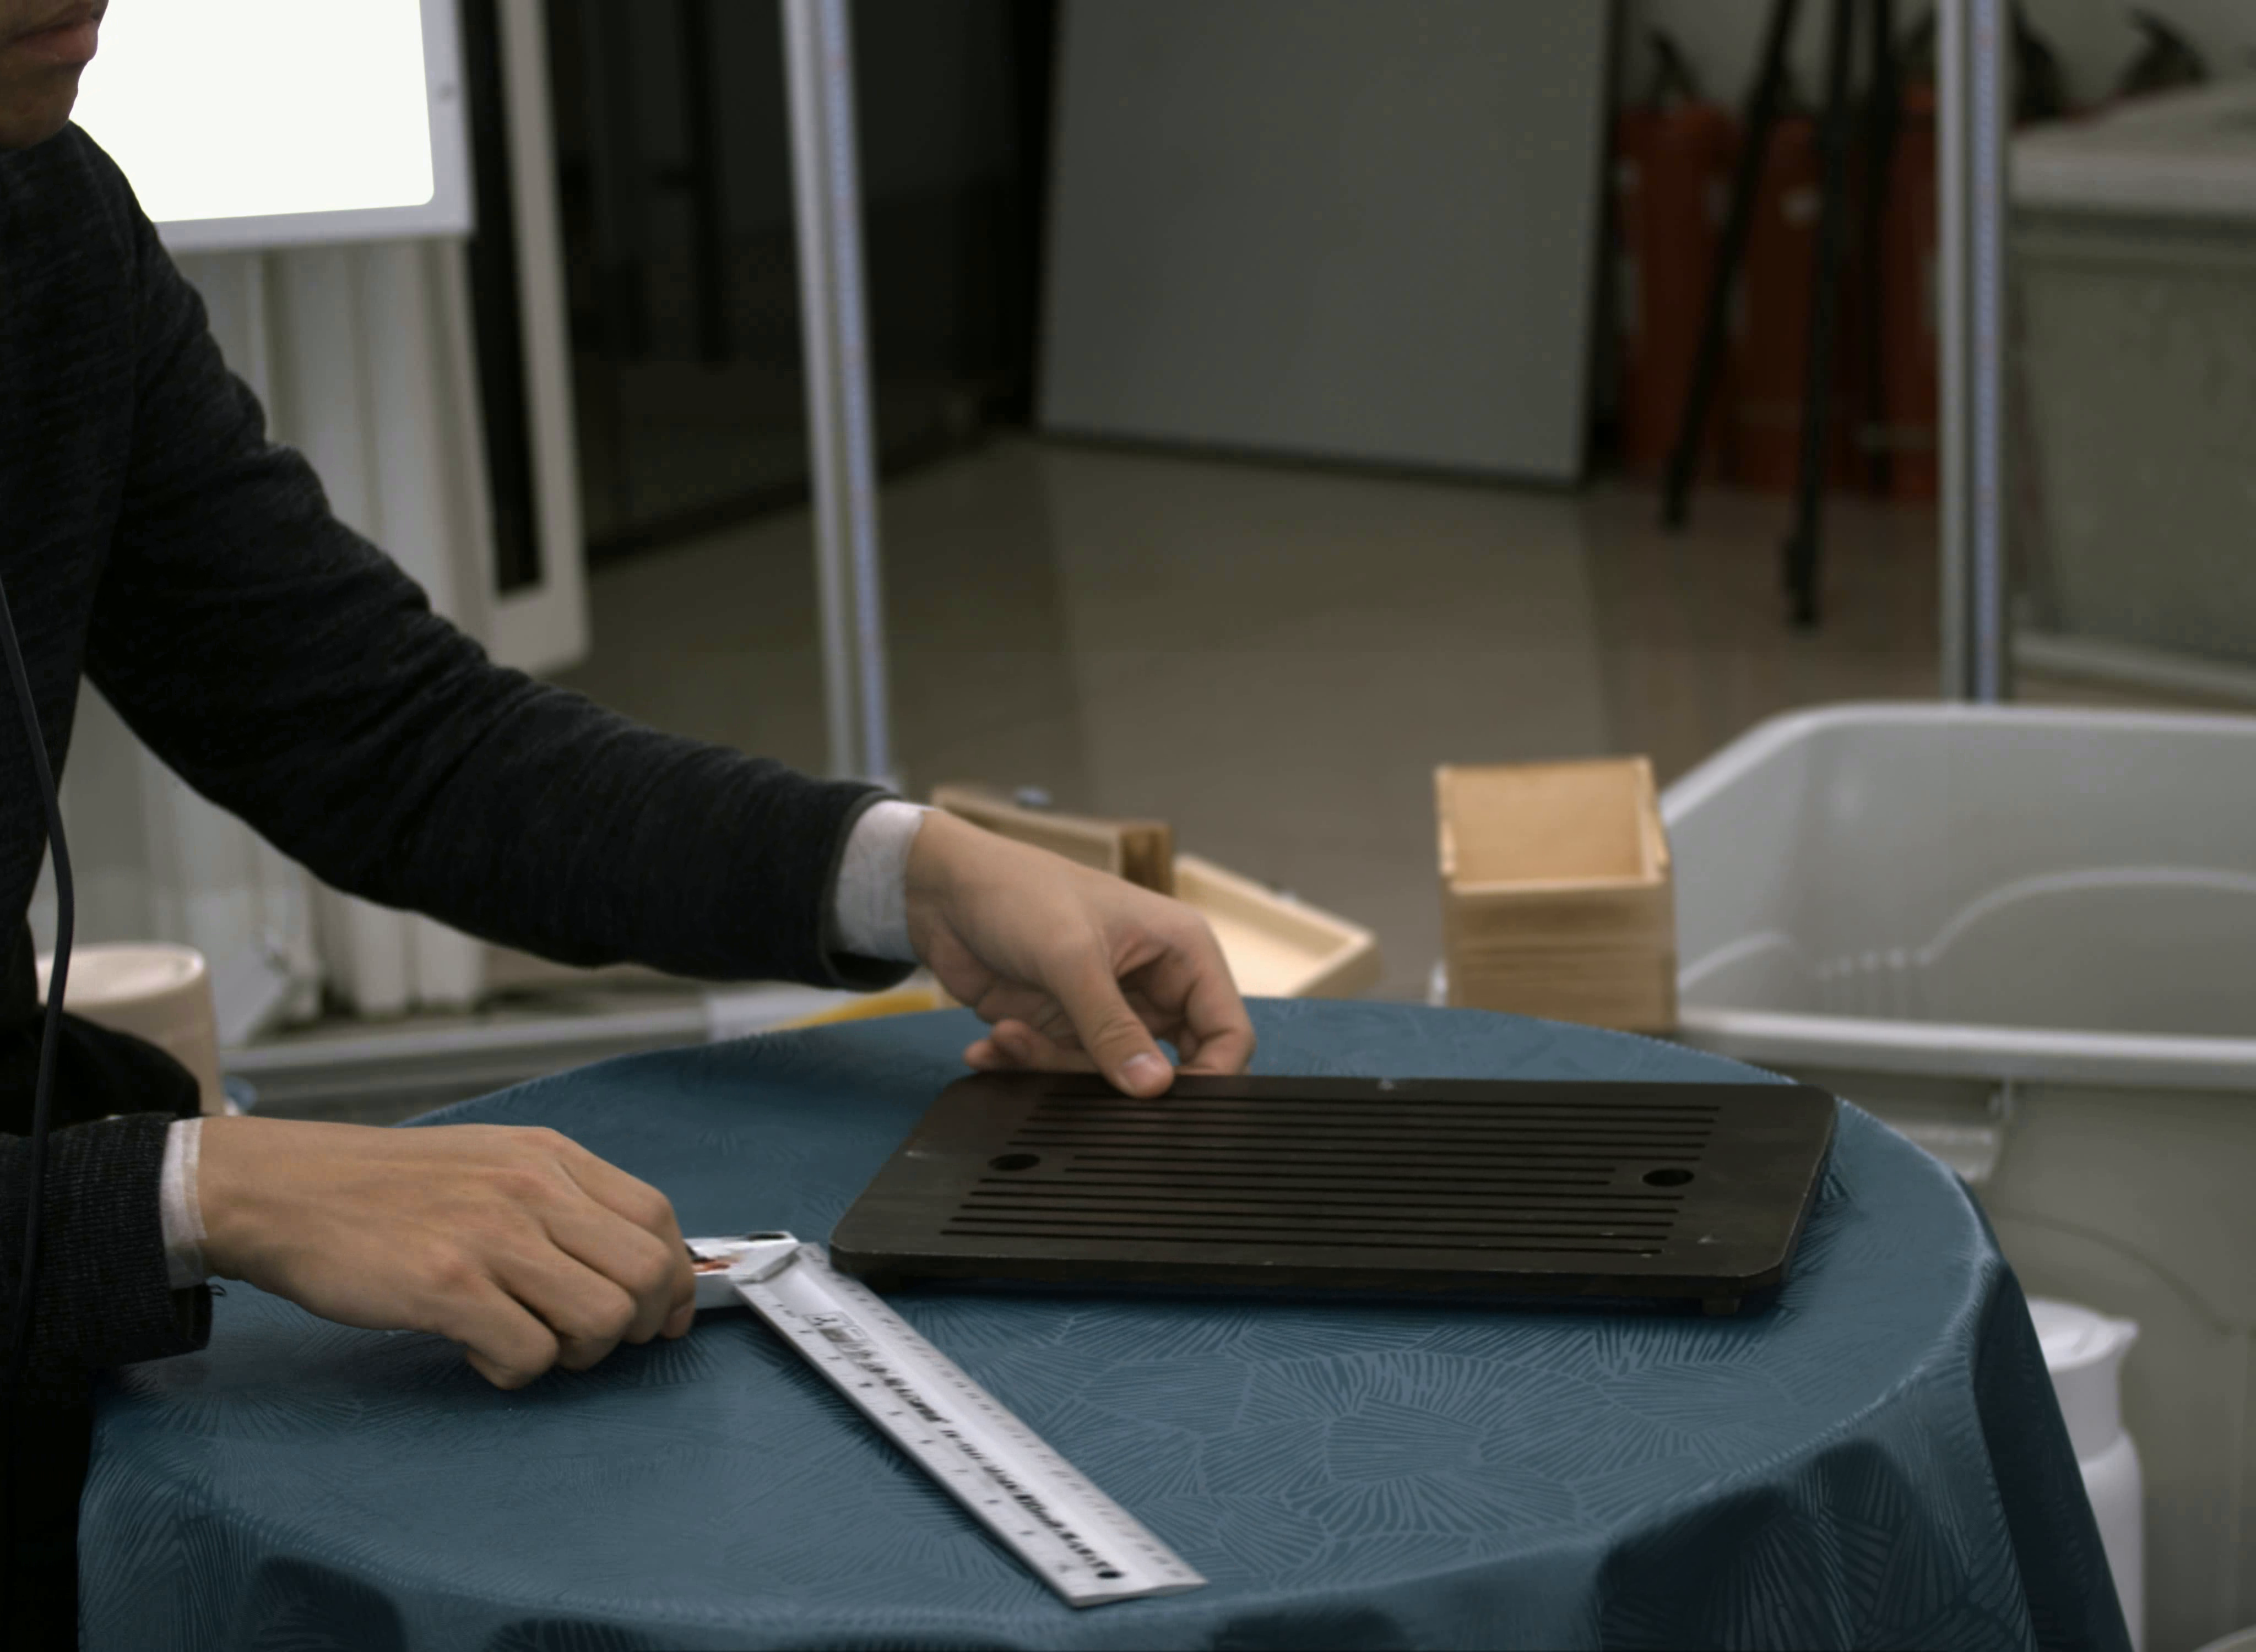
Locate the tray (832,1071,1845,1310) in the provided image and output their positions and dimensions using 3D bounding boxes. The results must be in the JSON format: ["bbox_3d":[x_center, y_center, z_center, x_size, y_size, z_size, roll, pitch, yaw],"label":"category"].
[{"bbox_3d":[0.070,0.115,1.723,0.305,0.019,0.169,0,17,17],"label":"tray"}]

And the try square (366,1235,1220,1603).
[{"bbox_3d":[-0.104,0.172,1.547,0.149,0.016,0.316,-4,14,-22],"label":"try square"}]
